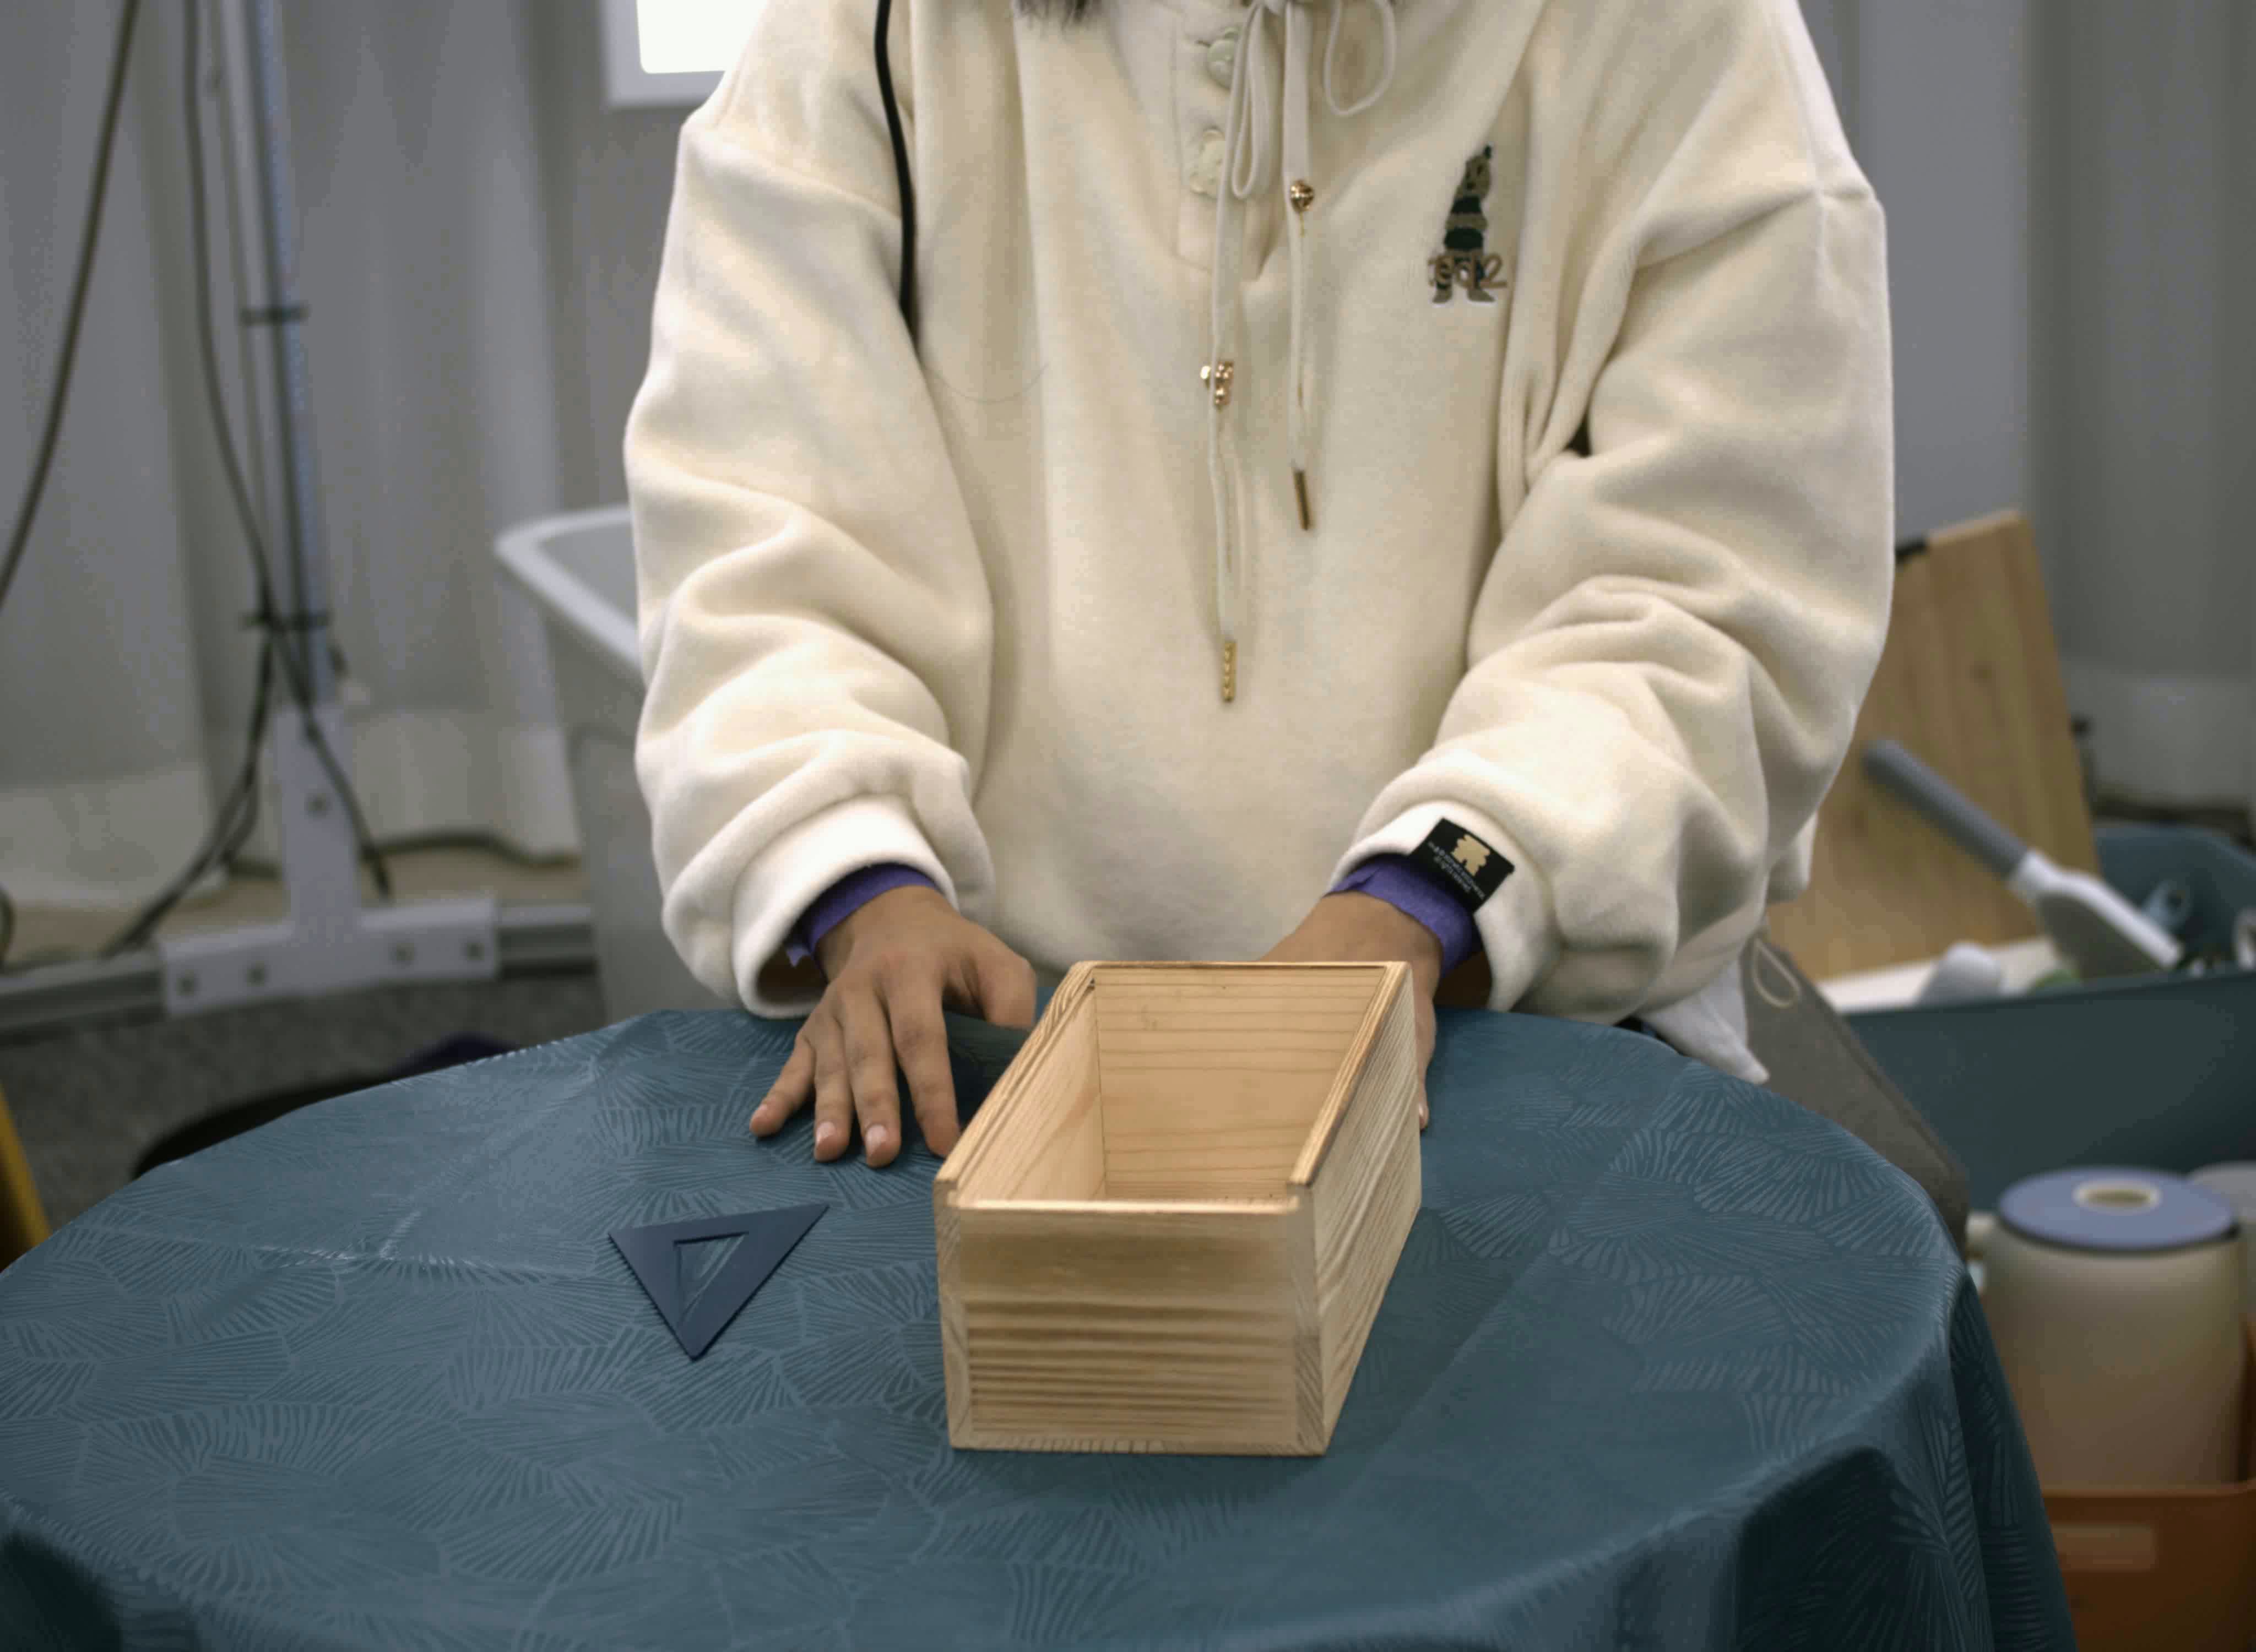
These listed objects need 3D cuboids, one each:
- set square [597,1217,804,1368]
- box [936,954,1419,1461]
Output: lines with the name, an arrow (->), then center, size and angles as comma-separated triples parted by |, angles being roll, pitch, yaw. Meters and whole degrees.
set square -> -0.146, 0.138, 1.649 | 0.061, 0.006, 0.132 | 3, 16, 18
box -> 0.019, 0.106, 1.587 | 0.107, 0.080, 0.212 | 0, 15, 10
